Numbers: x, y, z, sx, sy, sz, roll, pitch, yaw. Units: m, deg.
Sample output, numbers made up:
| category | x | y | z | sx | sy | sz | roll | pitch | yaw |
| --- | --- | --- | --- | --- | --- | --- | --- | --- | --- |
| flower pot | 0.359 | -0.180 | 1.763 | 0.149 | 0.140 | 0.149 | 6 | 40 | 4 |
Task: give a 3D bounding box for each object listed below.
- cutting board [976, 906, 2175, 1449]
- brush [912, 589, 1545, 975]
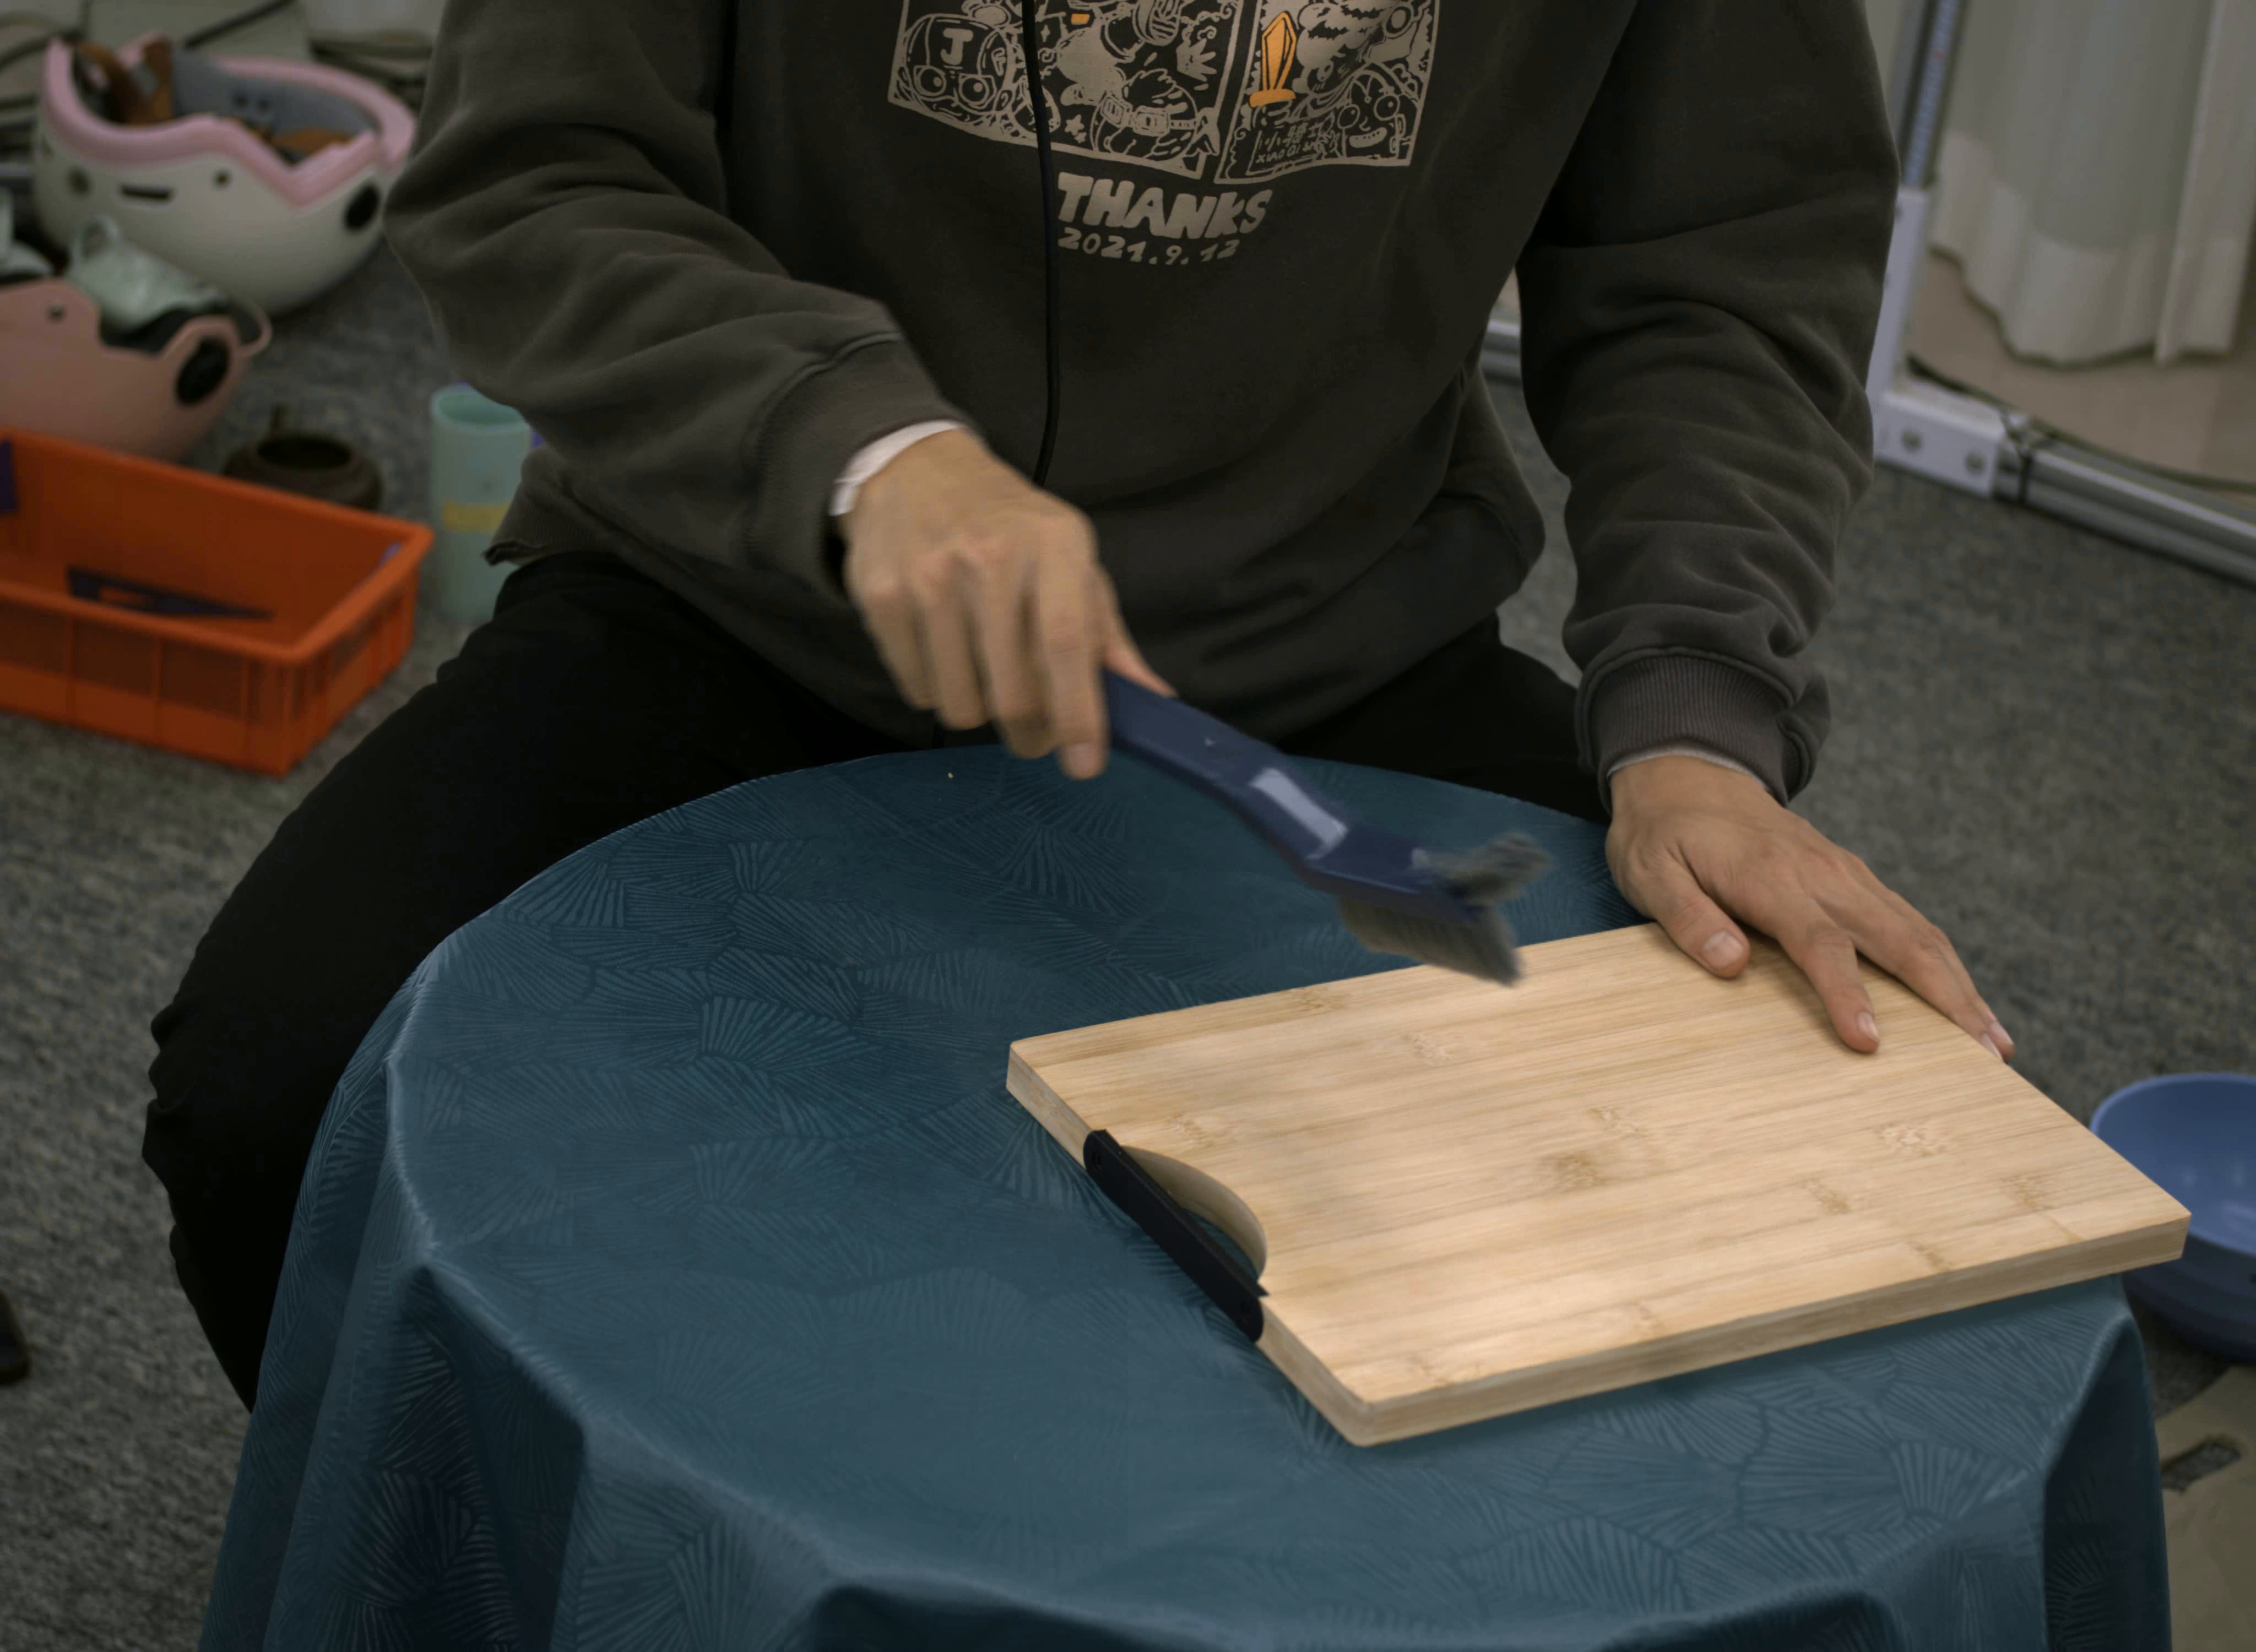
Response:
| category | x | y | z | sx | sy | sz | roll | pitch | yaw |
| --- | --- | --- | --- | --- | --- | --- | --- | --- | --- |
| cutting board | 0.156 | 0.114 | 1.840 | 0.346 | 0.023 | 0.253 | -9 | 30 | -29 |
| brush | 0.032 | -0.028 | 1.810 | 0.275 | 0.095 | 0.033 | 33 | 60 | 28 |
